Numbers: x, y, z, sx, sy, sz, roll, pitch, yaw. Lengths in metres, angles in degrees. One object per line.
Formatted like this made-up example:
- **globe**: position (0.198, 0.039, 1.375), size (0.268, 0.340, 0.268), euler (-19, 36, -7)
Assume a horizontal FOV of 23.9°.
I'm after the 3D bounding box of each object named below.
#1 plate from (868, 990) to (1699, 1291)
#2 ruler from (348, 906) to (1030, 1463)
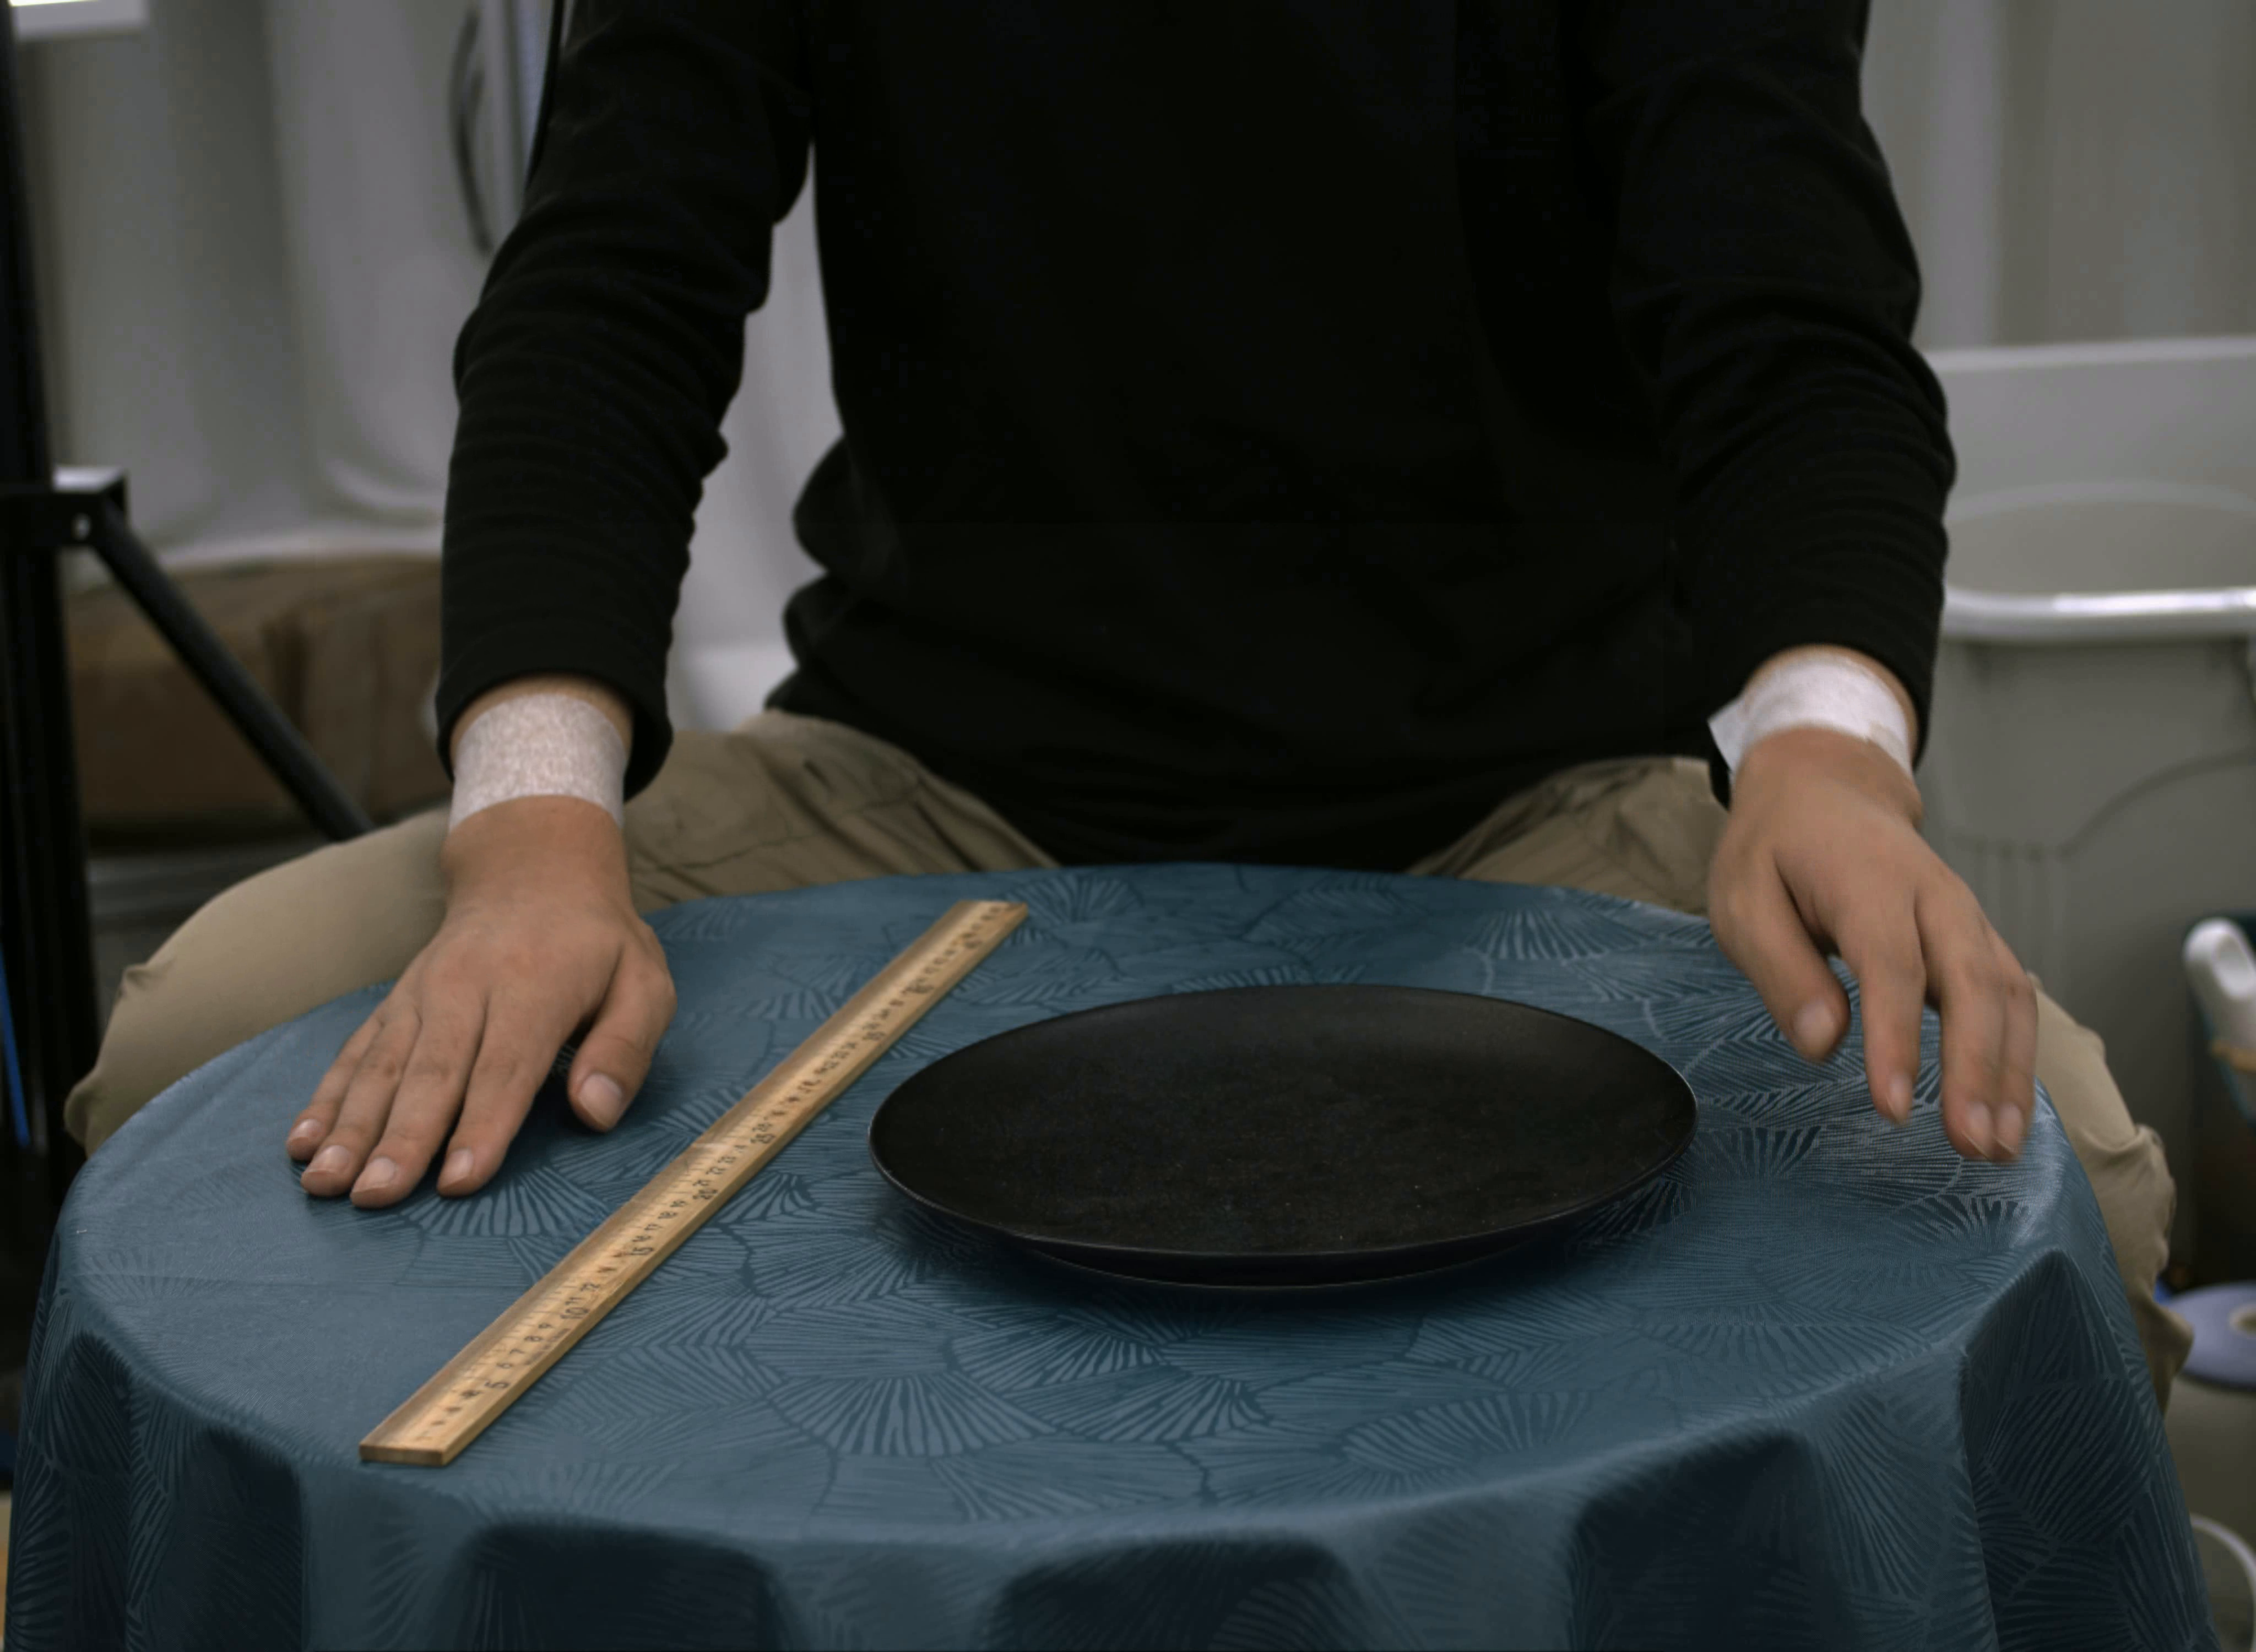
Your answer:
- **plate**: position (0.046, 0.094, 1.555), size (0.243, 0.023, 0.245), euler (-3, 15, -1)
- **ruler**: position (-0.117, 0.096, 1.608), size (0.027, 0.006, 0.495), euler (4, 17, 17)
